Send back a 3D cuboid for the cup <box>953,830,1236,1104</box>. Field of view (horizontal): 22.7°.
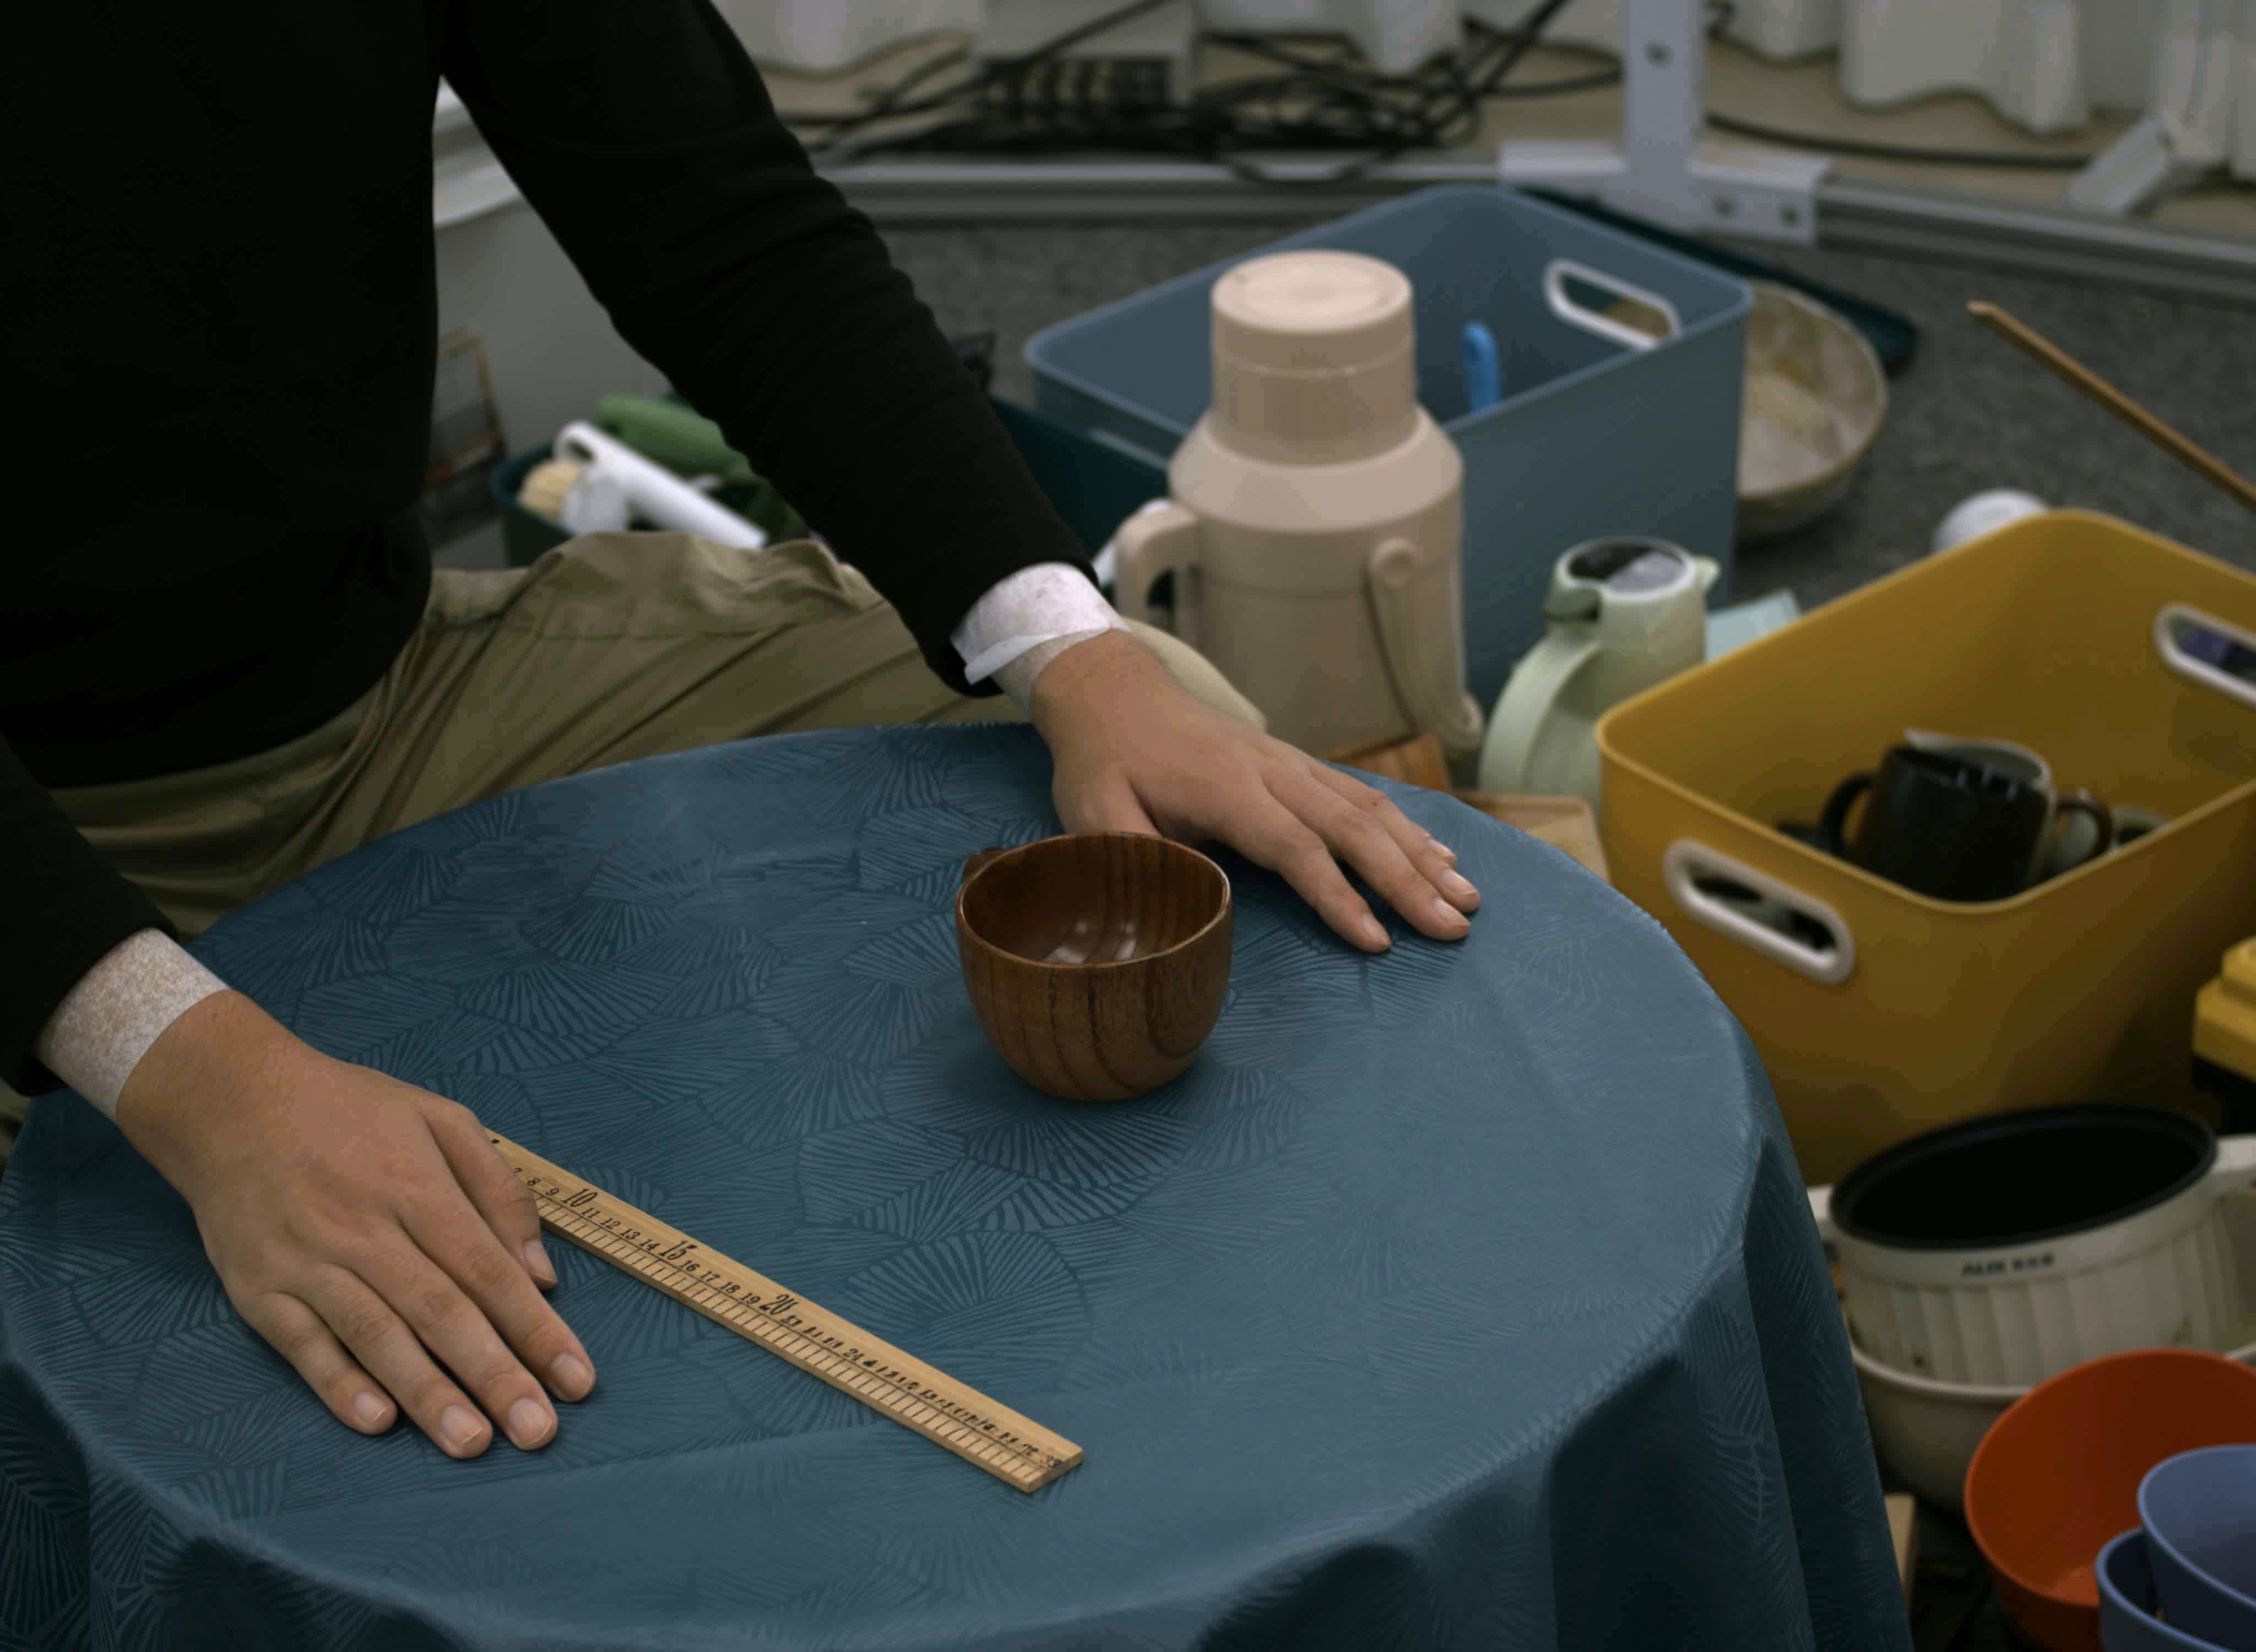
[{"bbox_3d":[-0.016,0.048,1.935,0.097,0.067,0.119,-25,33,-33],"label":"cup"}]

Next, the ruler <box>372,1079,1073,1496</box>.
[{"bbox_3d":[-0.139,0.144,1.821,0.028,0.022,0.331,-20,32,-39],"label":"ruler"}]
